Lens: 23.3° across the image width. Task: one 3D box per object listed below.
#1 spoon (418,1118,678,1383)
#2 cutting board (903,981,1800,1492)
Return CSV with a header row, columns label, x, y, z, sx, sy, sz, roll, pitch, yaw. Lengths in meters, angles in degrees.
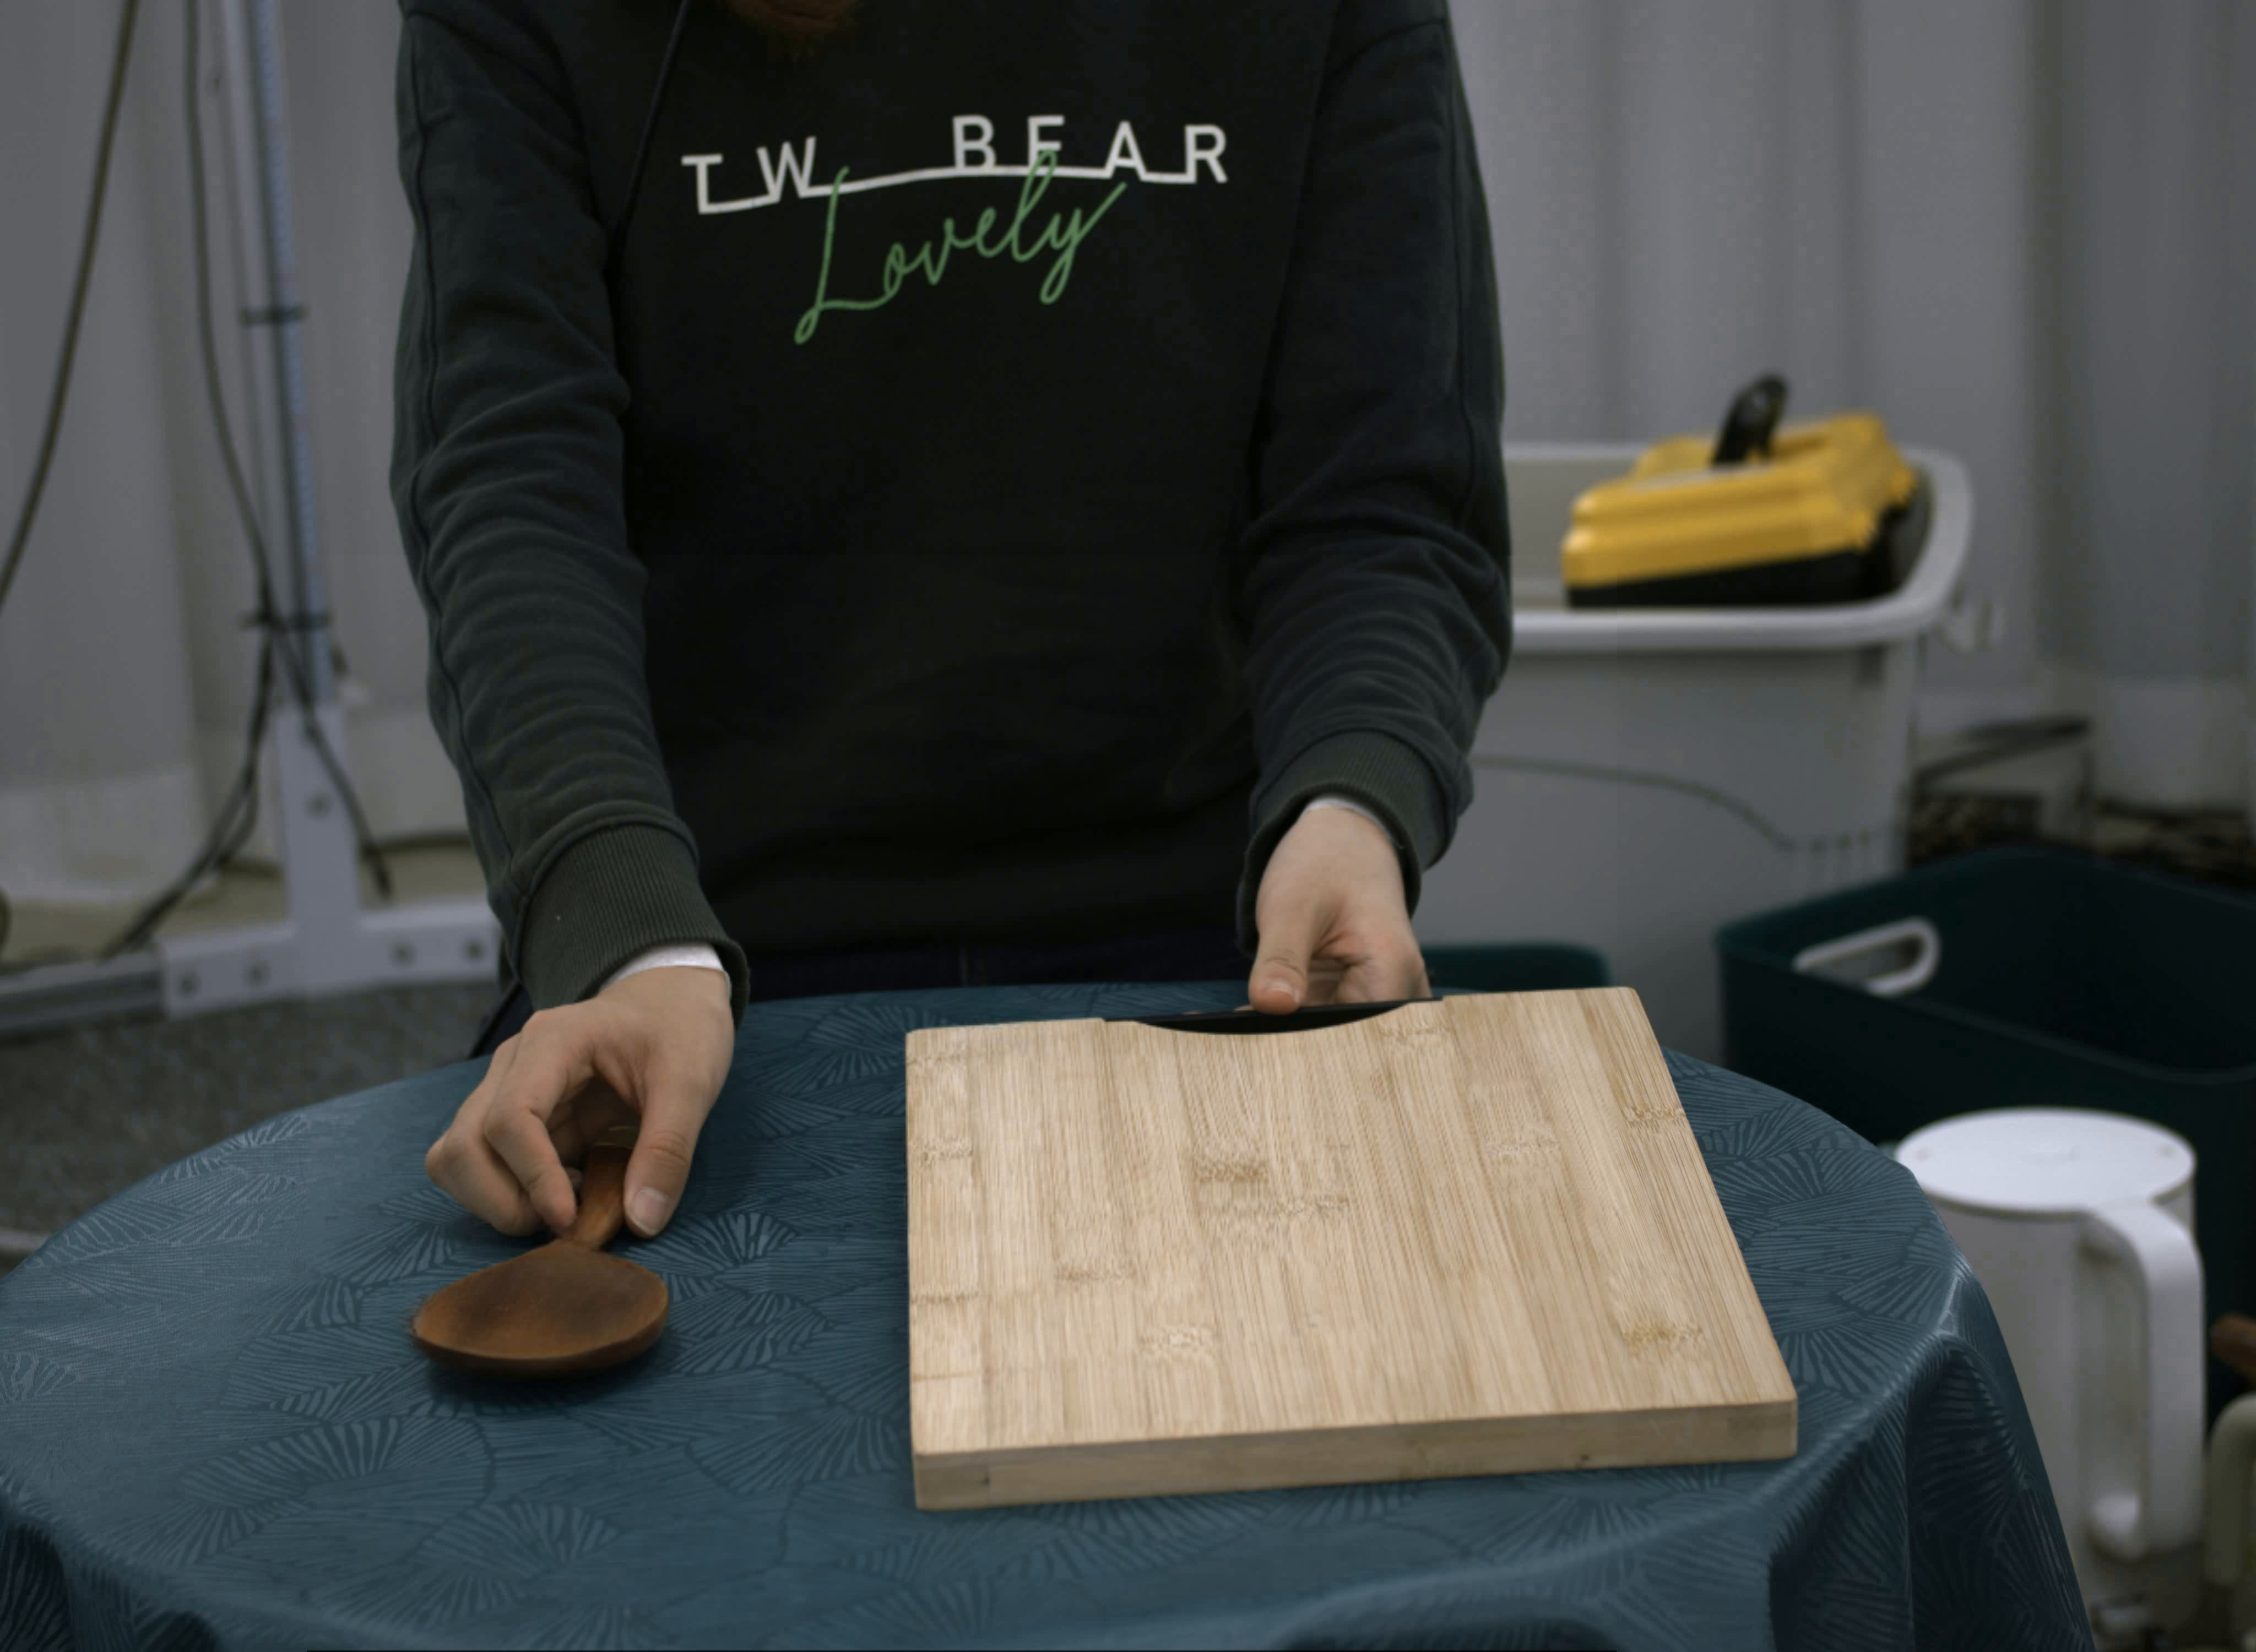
label,x,y,z,sx,sy,sz,roll,pitch,yaw
spoon,-0.164,0.130,1.656,0.075,0.017,0.217,-3,15,5
cutting board,0.054,0.117,1.634,0.250,0.023,0.351,-3,17,-3
